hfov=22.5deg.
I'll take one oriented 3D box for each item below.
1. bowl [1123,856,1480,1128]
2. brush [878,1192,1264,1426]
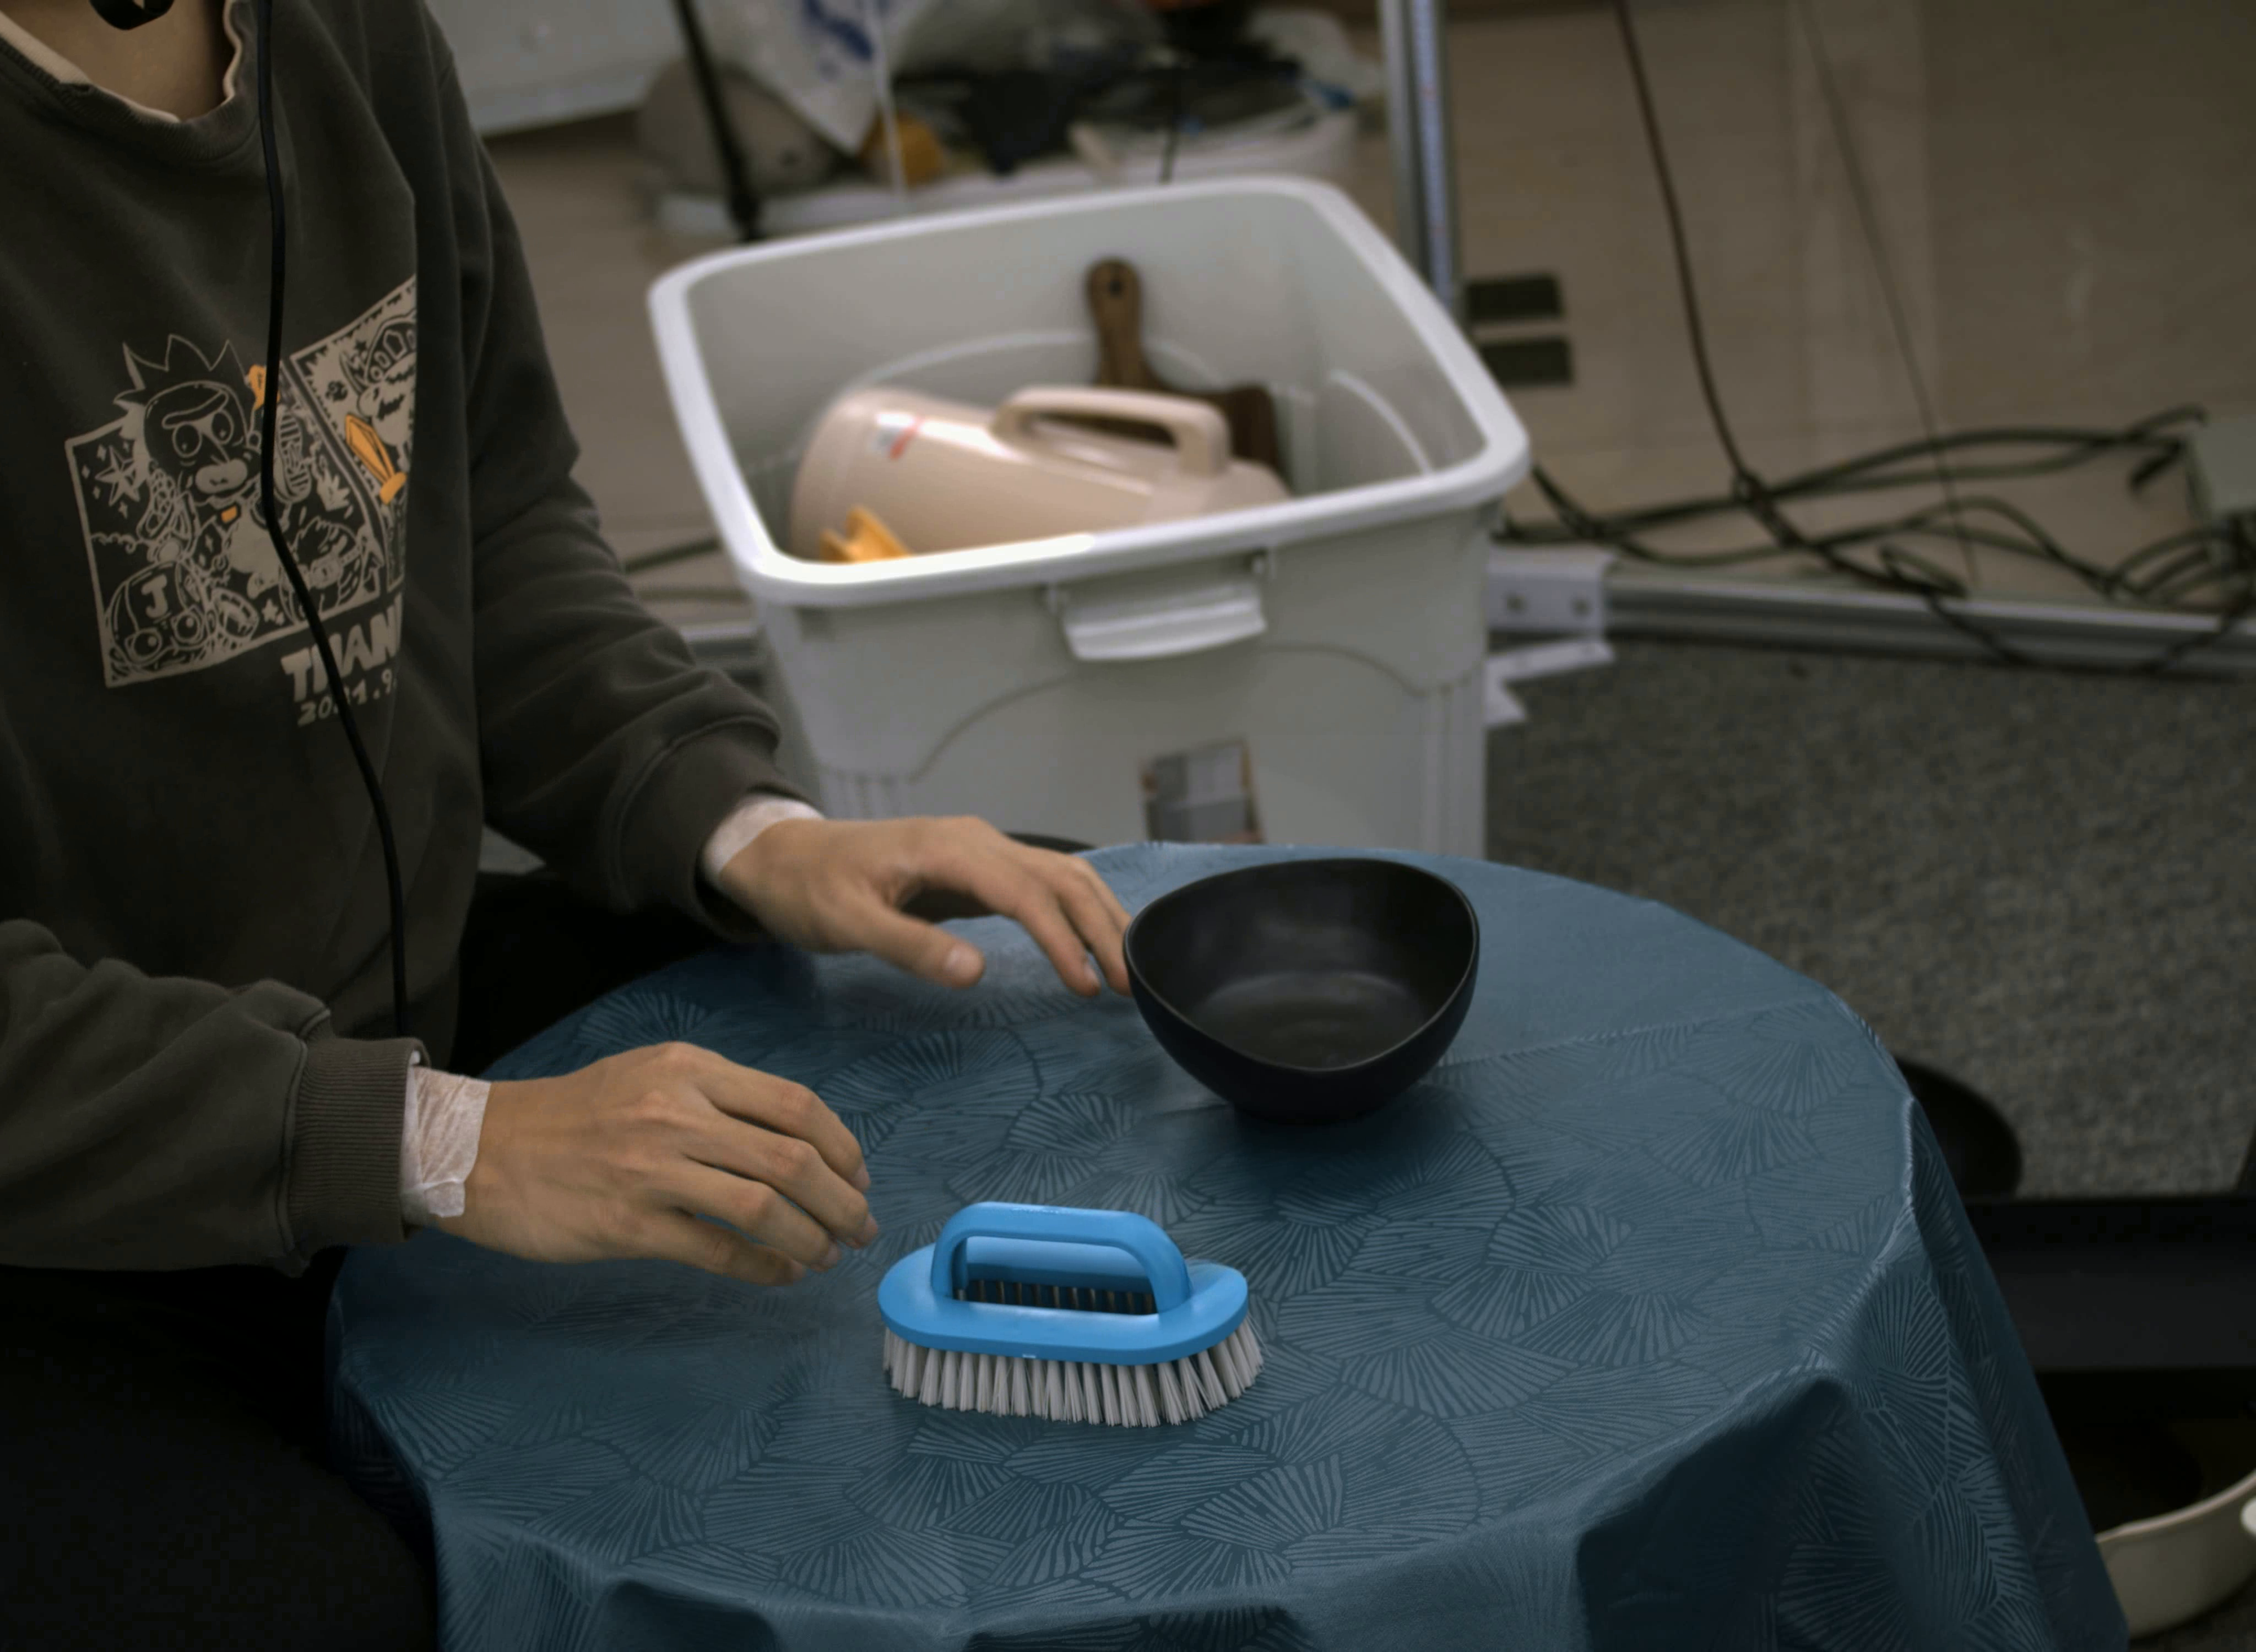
[{"bbox_3d":[0.071,0.072,2.197,0.137,0.068,0.168,-11,27,-7],"label":"bowl"},{"bbox_3d":[-0.024,0.163,2.023,0.141,0.065,0.083,3,32,22],"label":"brush"}]
